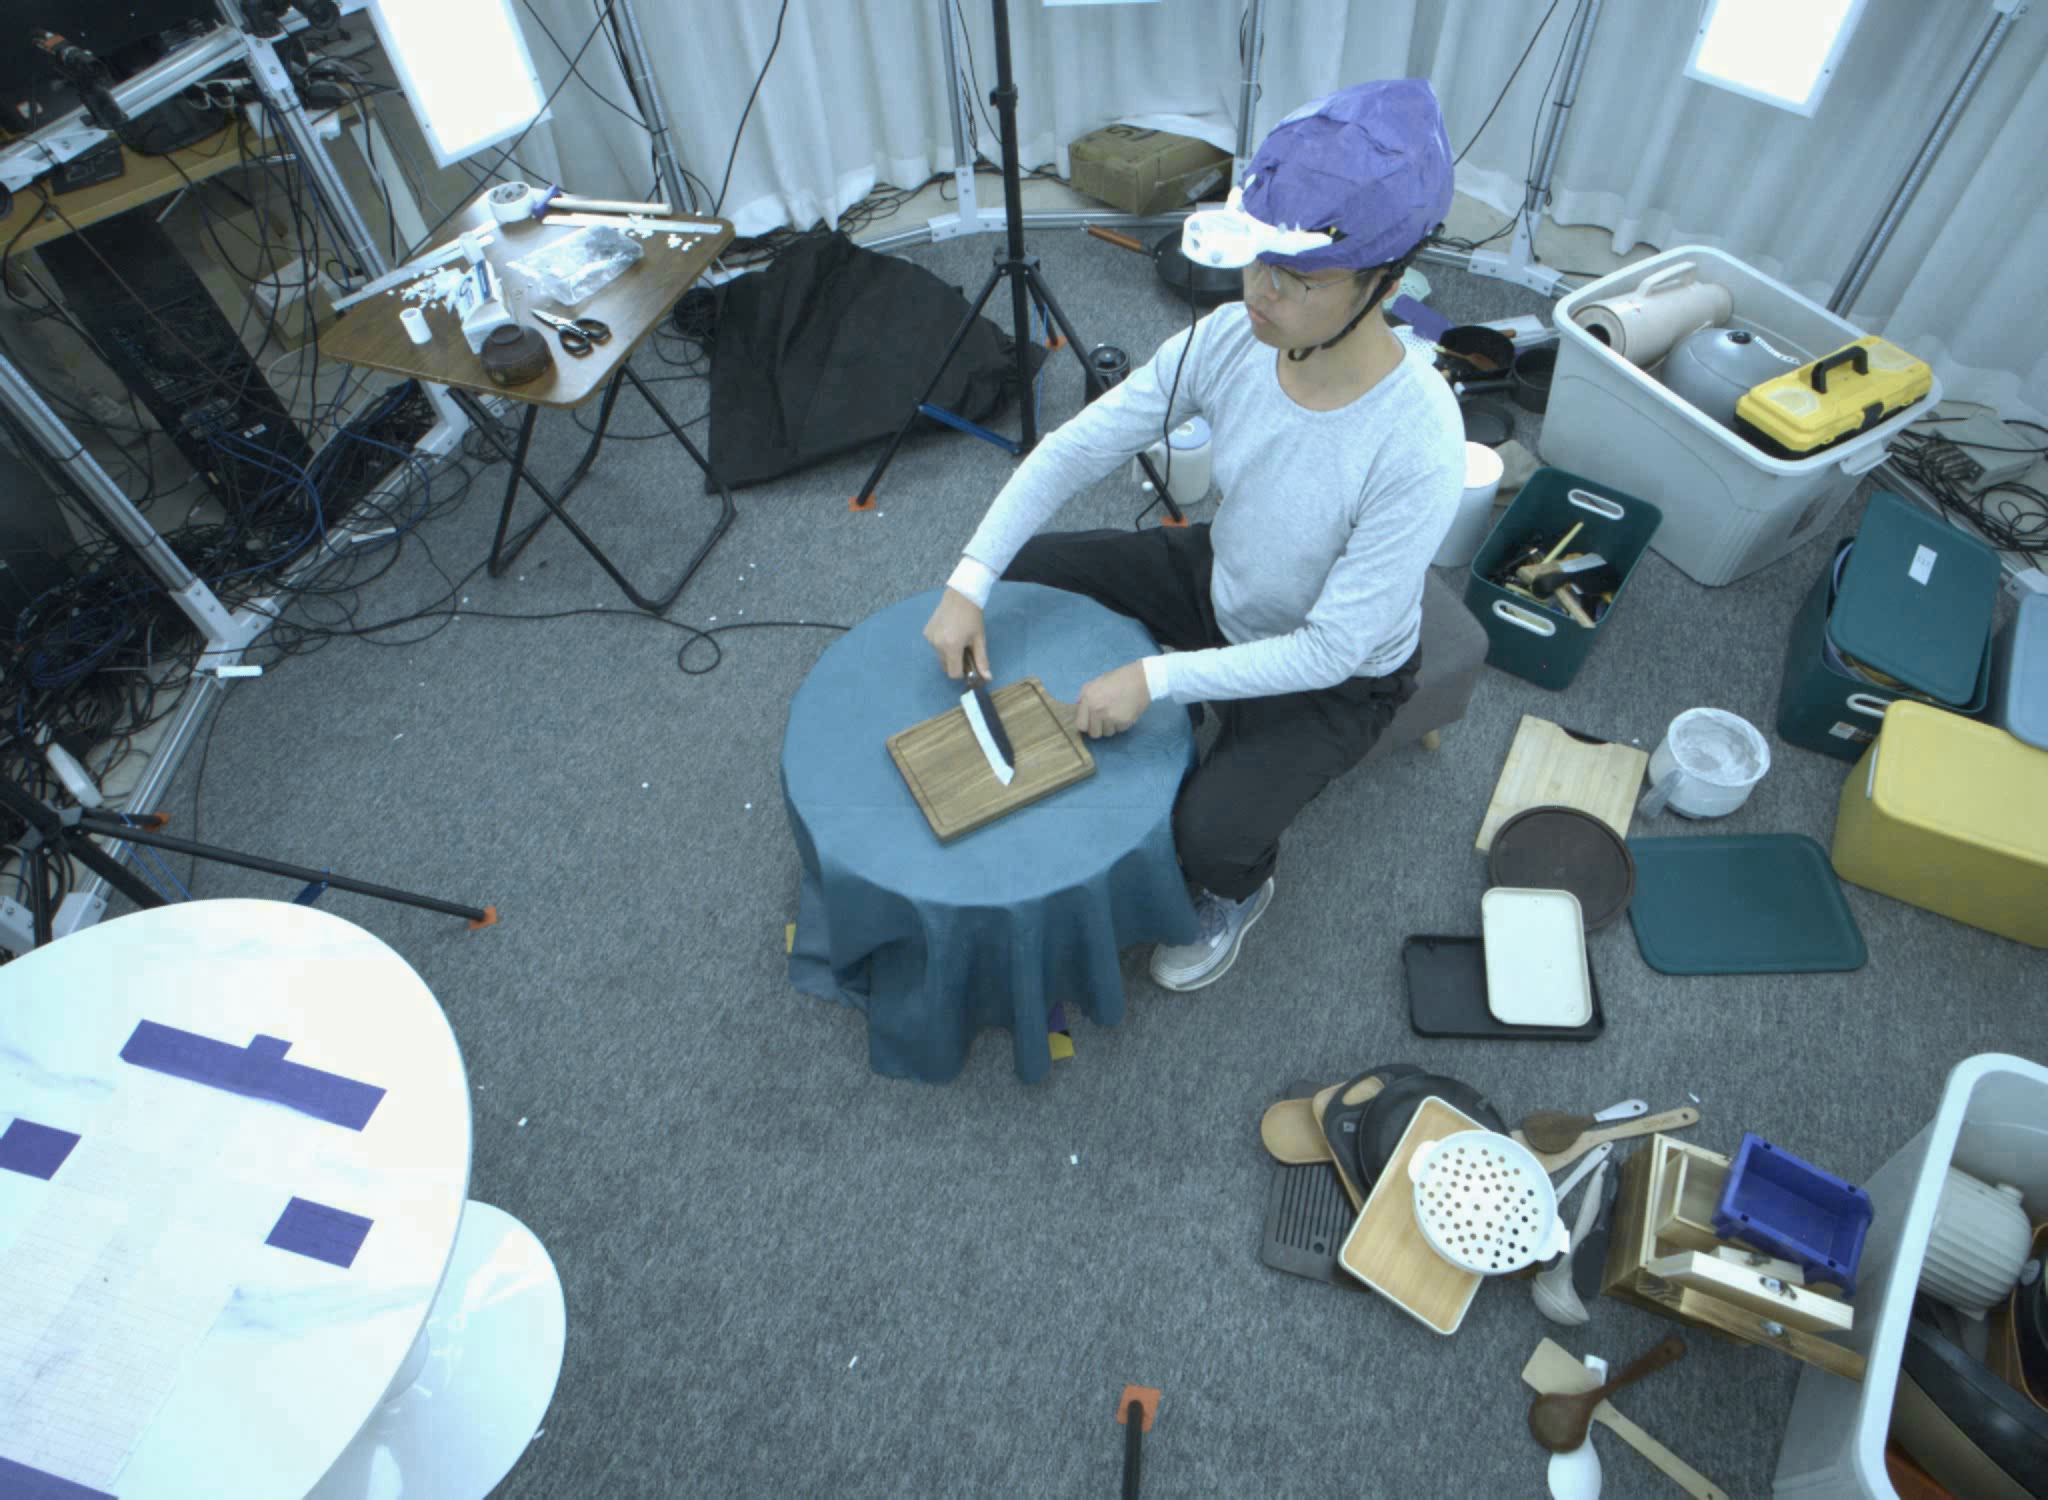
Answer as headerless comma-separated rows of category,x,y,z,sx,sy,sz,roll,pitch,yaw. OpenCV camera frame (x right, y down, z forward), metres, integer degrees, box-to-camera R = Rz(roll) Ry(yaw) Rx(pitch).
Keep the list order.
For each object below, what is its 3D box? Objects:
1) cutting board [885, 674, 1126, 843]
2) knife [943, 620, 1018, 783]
cutting board,-0.006,-0.012,1.790,0.355,0.023,0.197,-24,58,-15
knife,-0.065,-0.074,1.802,0.050,0.020,0.285,-30,63,16
